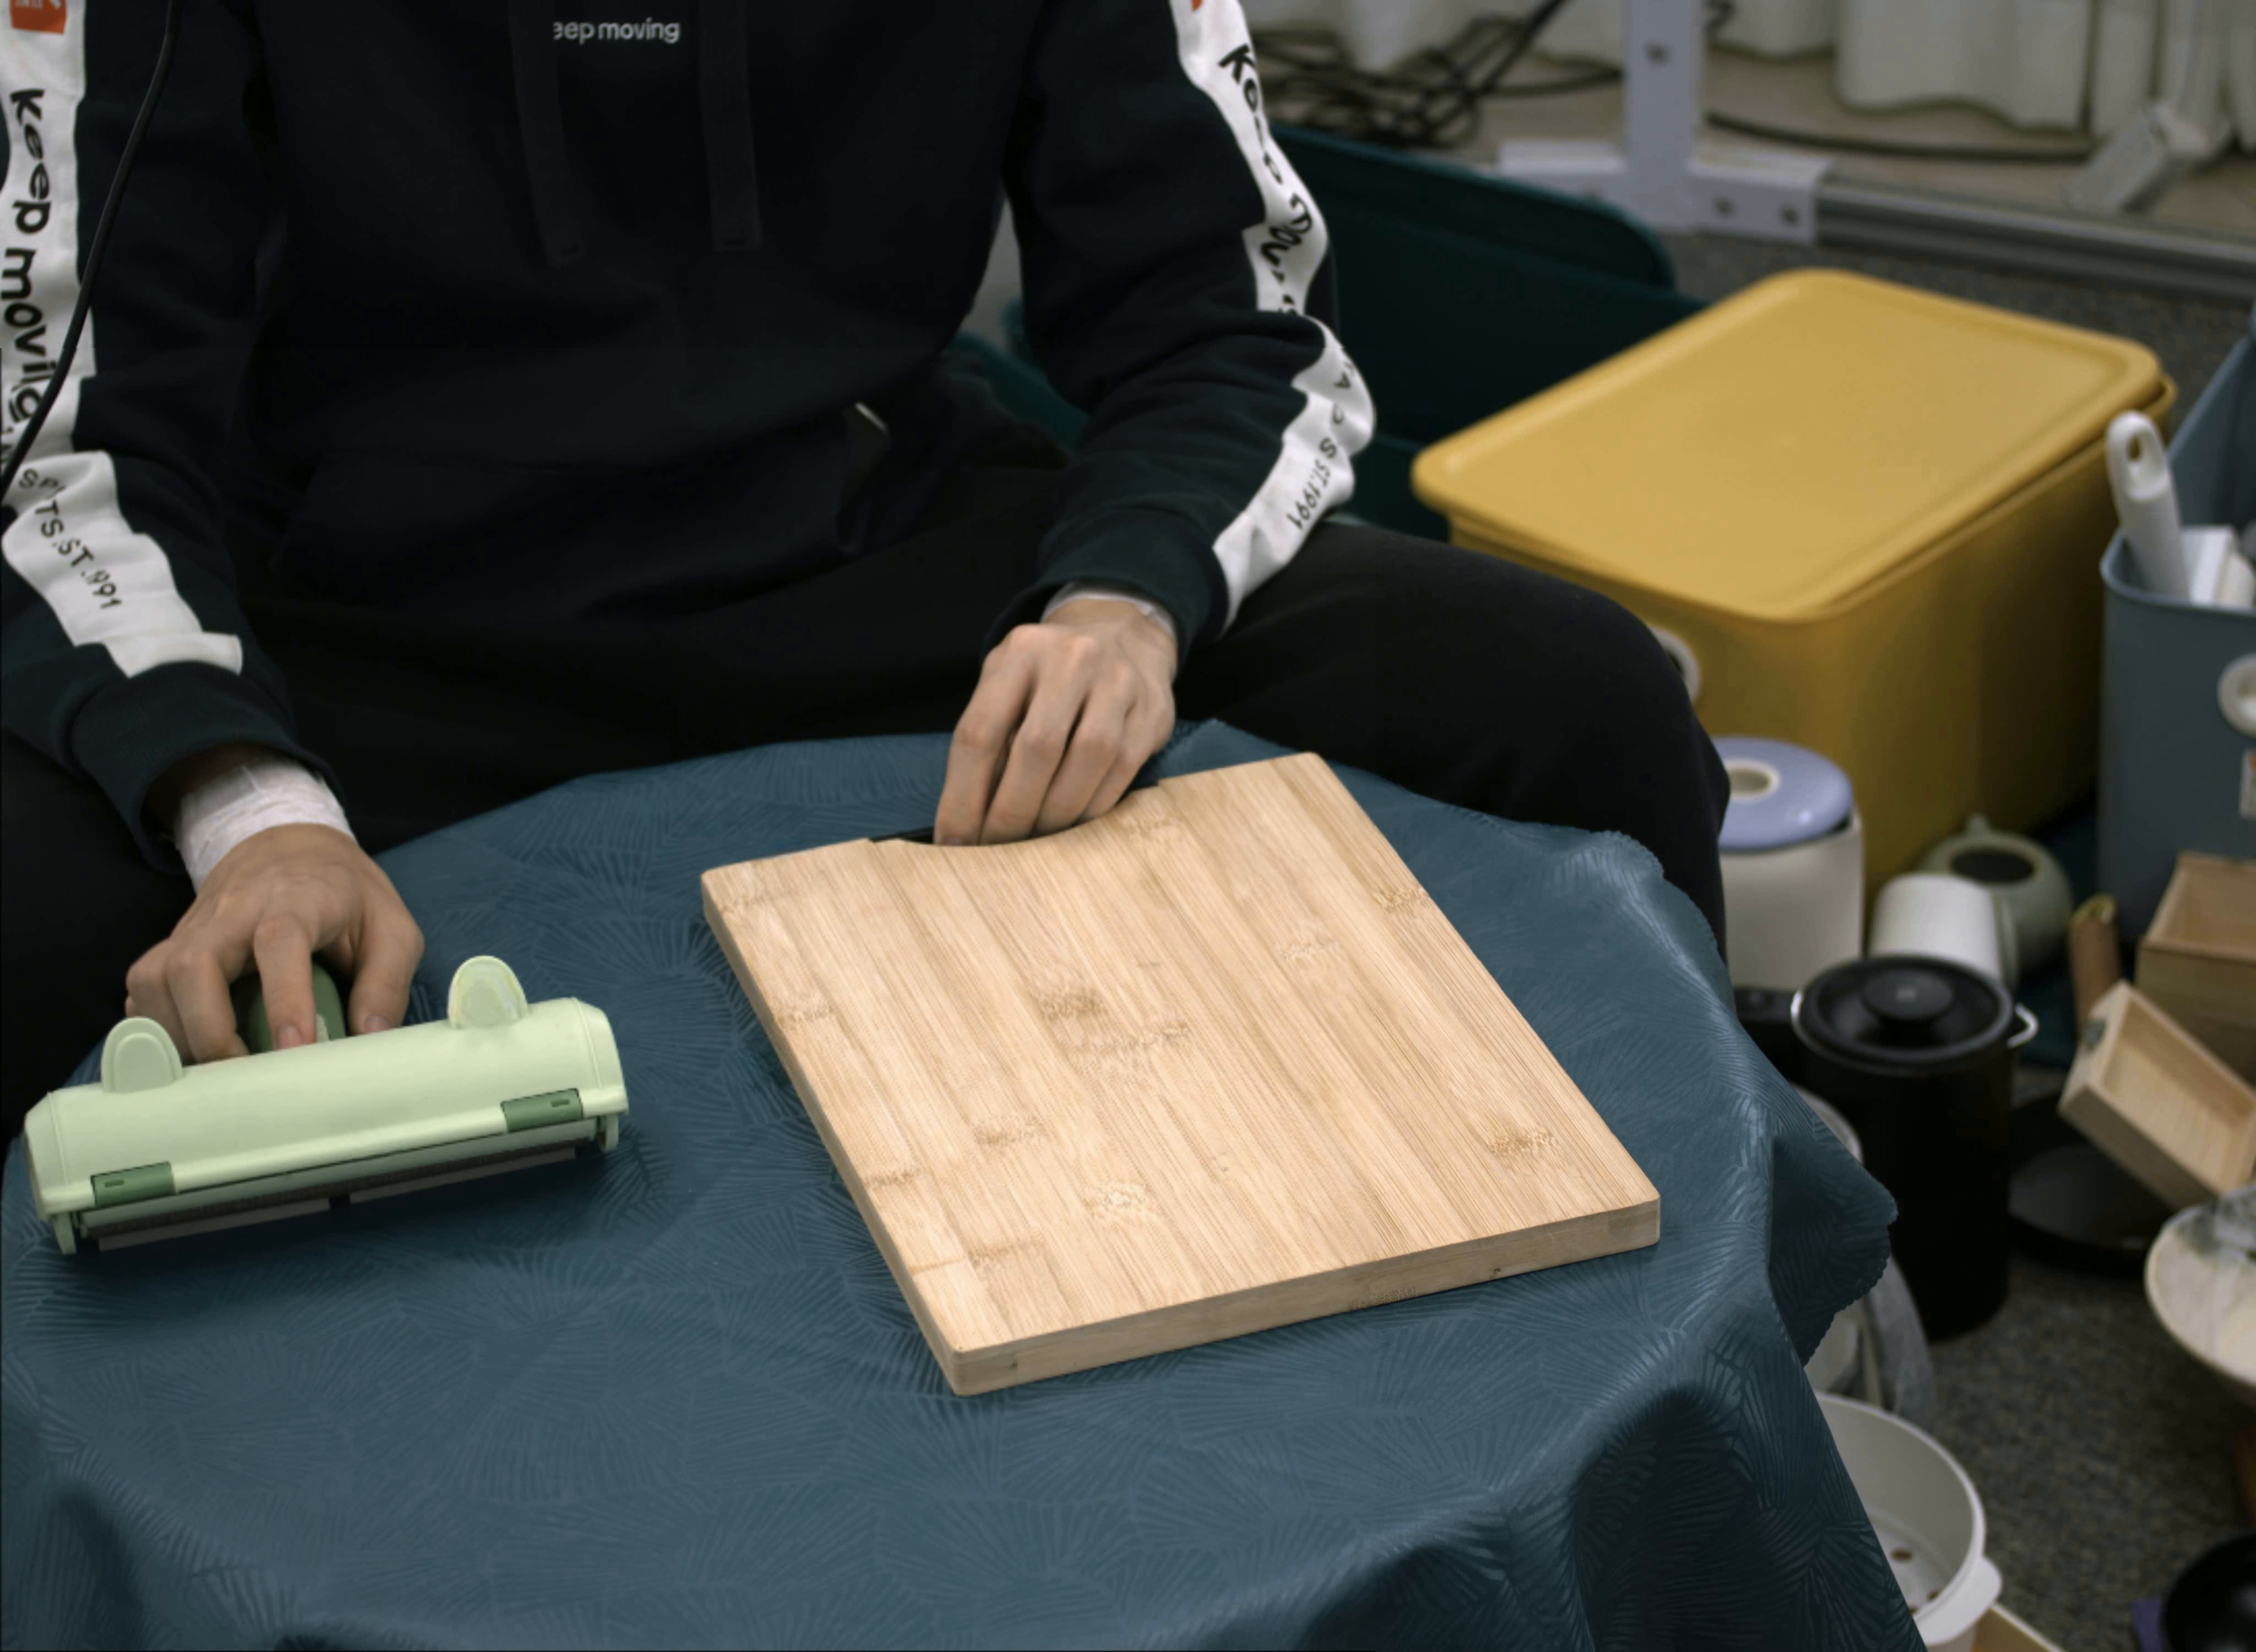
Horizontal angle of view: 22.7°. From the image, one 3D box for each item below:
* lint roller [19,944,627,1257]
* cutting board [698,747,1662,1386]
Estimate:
[{"bbox_3d":[-0.282,0.067,1.907,0.198,0.081,0.185,-10,31,-13],"label":"lint roller"},{"bbox_3d":[0.008,0.075,1.931,0.251,0.023,0.352,-11,29,-15],"label":"cutting board"}]
